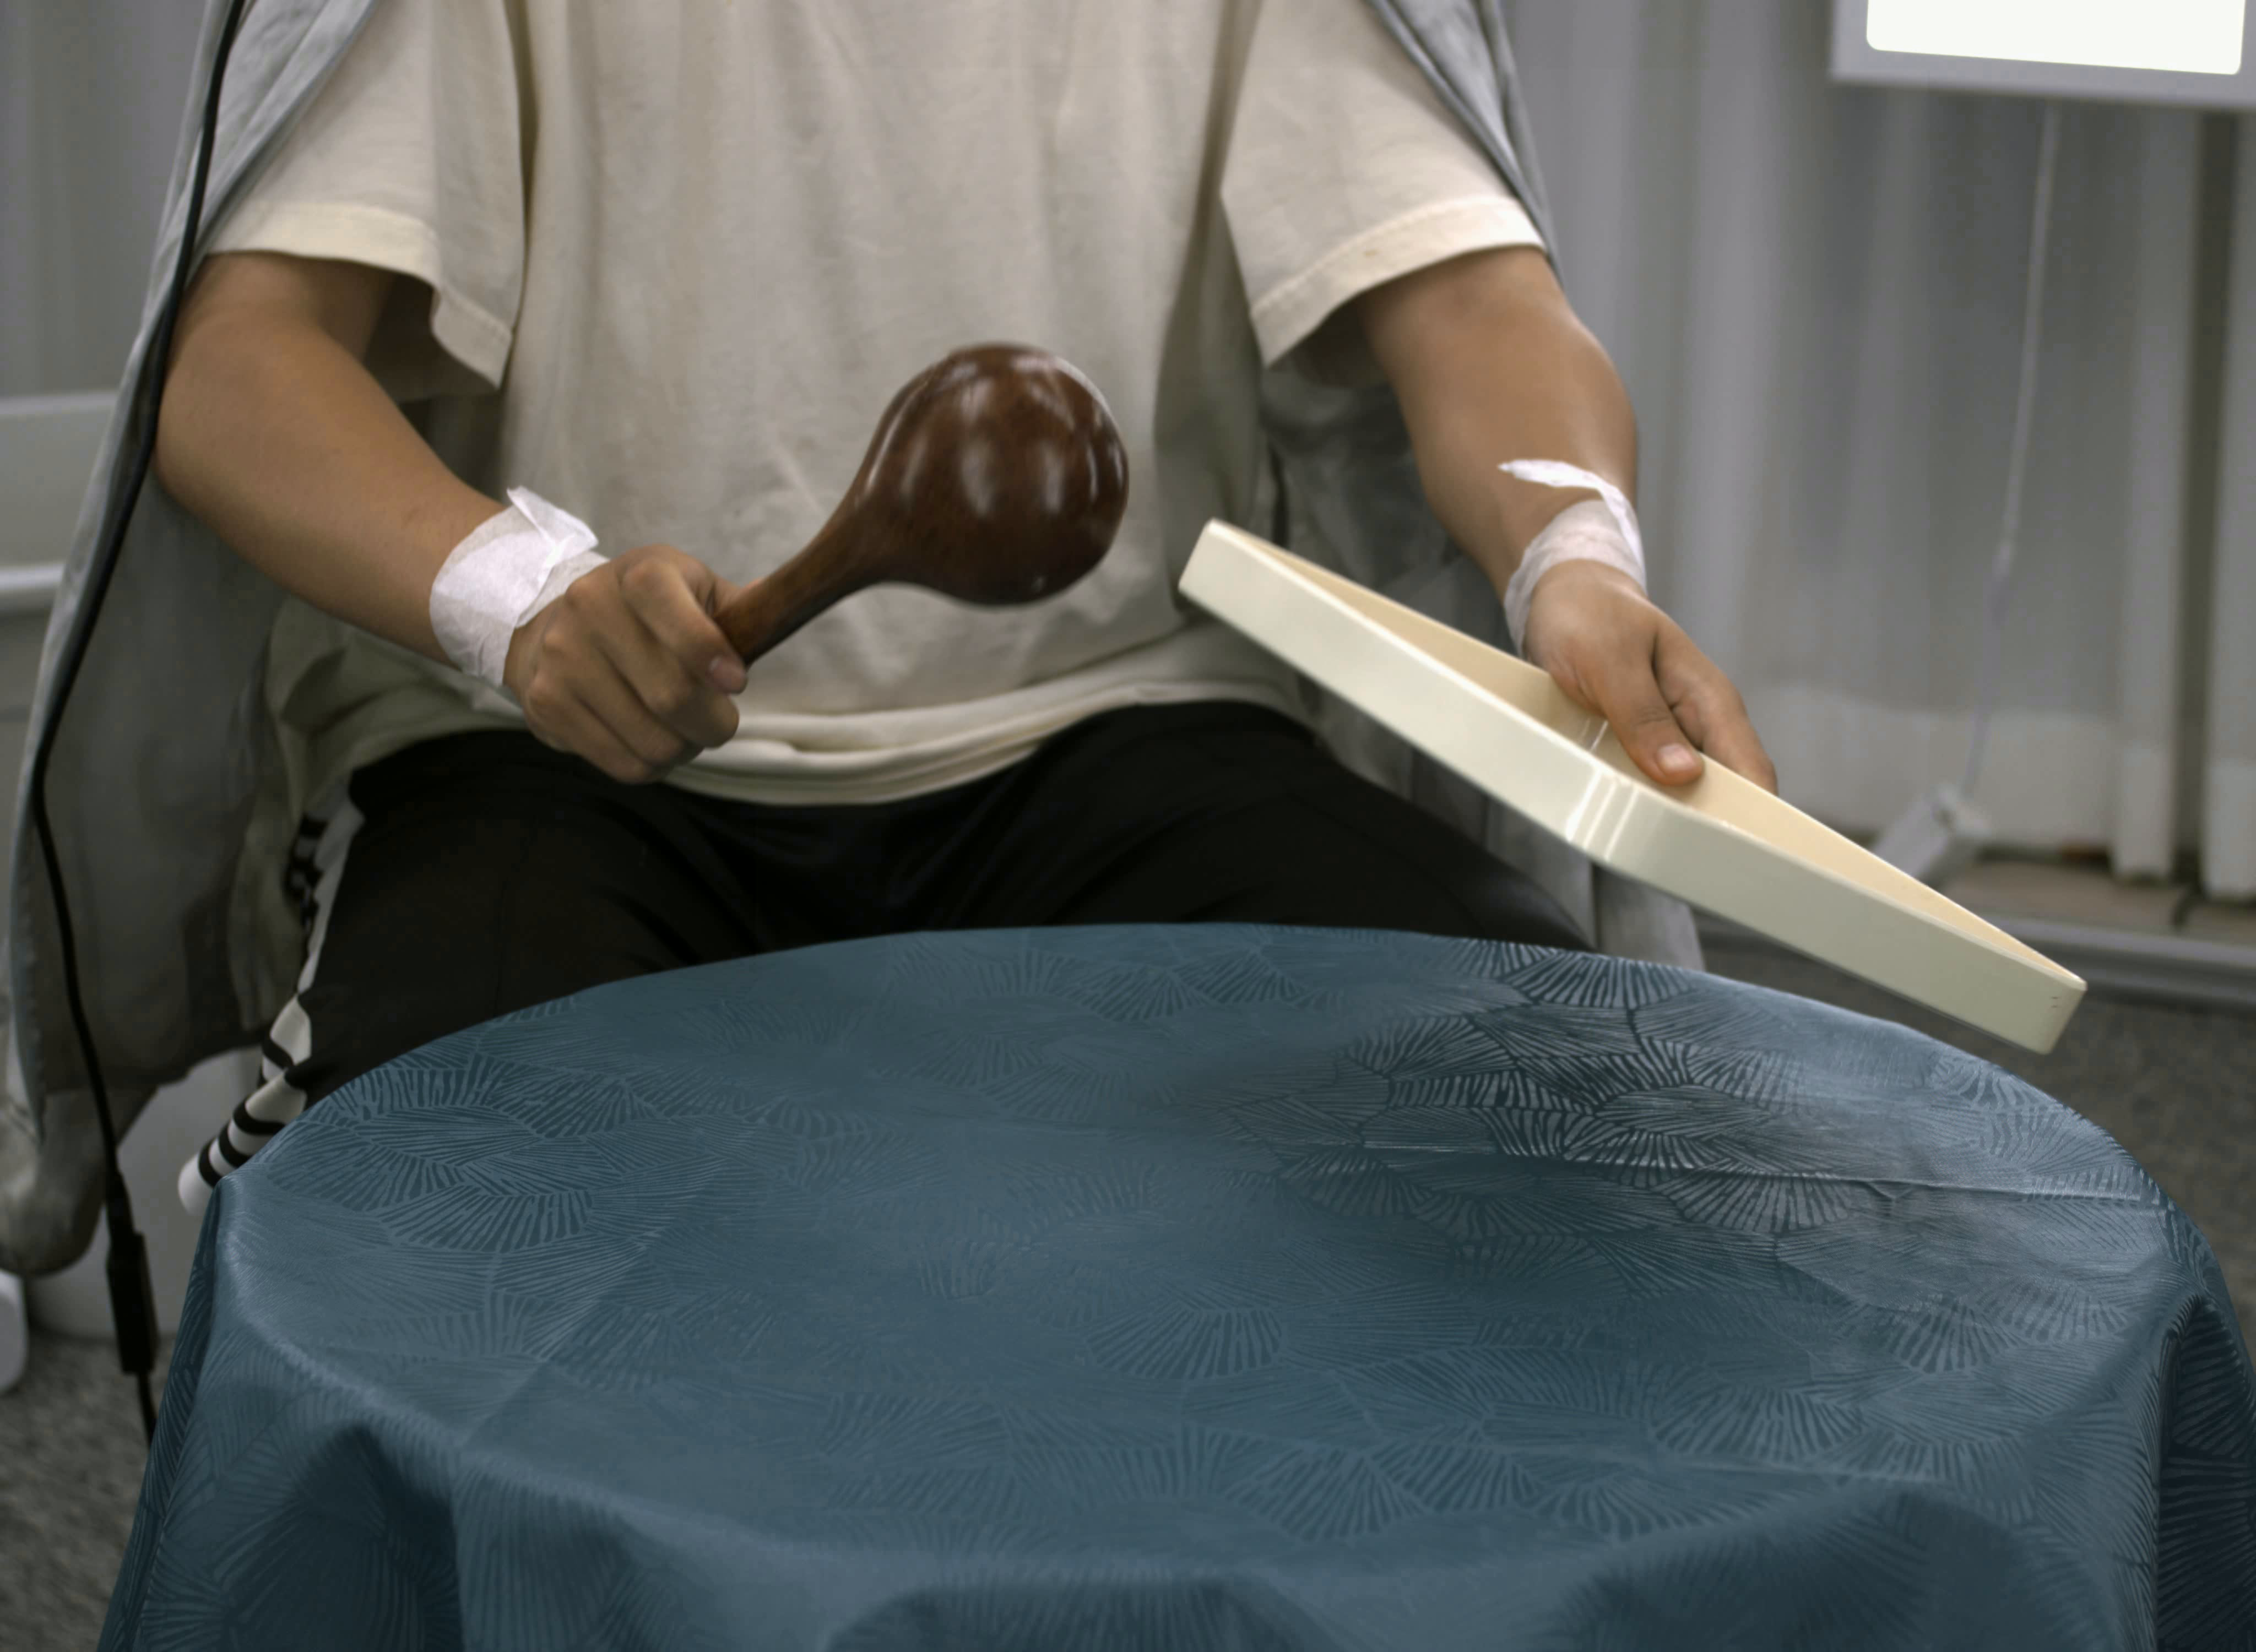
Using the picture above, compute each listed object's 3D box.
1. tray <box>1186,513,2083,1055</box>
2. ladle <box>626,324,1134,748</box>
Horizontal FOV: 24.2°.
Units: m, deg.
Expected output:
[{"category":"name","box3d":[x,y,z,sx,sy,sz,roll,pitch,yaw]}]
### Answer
[{"category":"tray","box3d":[0.153,-0.016,1.657,0.193,0.027,0.296,24,7,-31]},{"category":"ladle","box3d":[-0.083,-0.084,1.681,0.077,0.082,0.273,-15,-8,-28]}]
